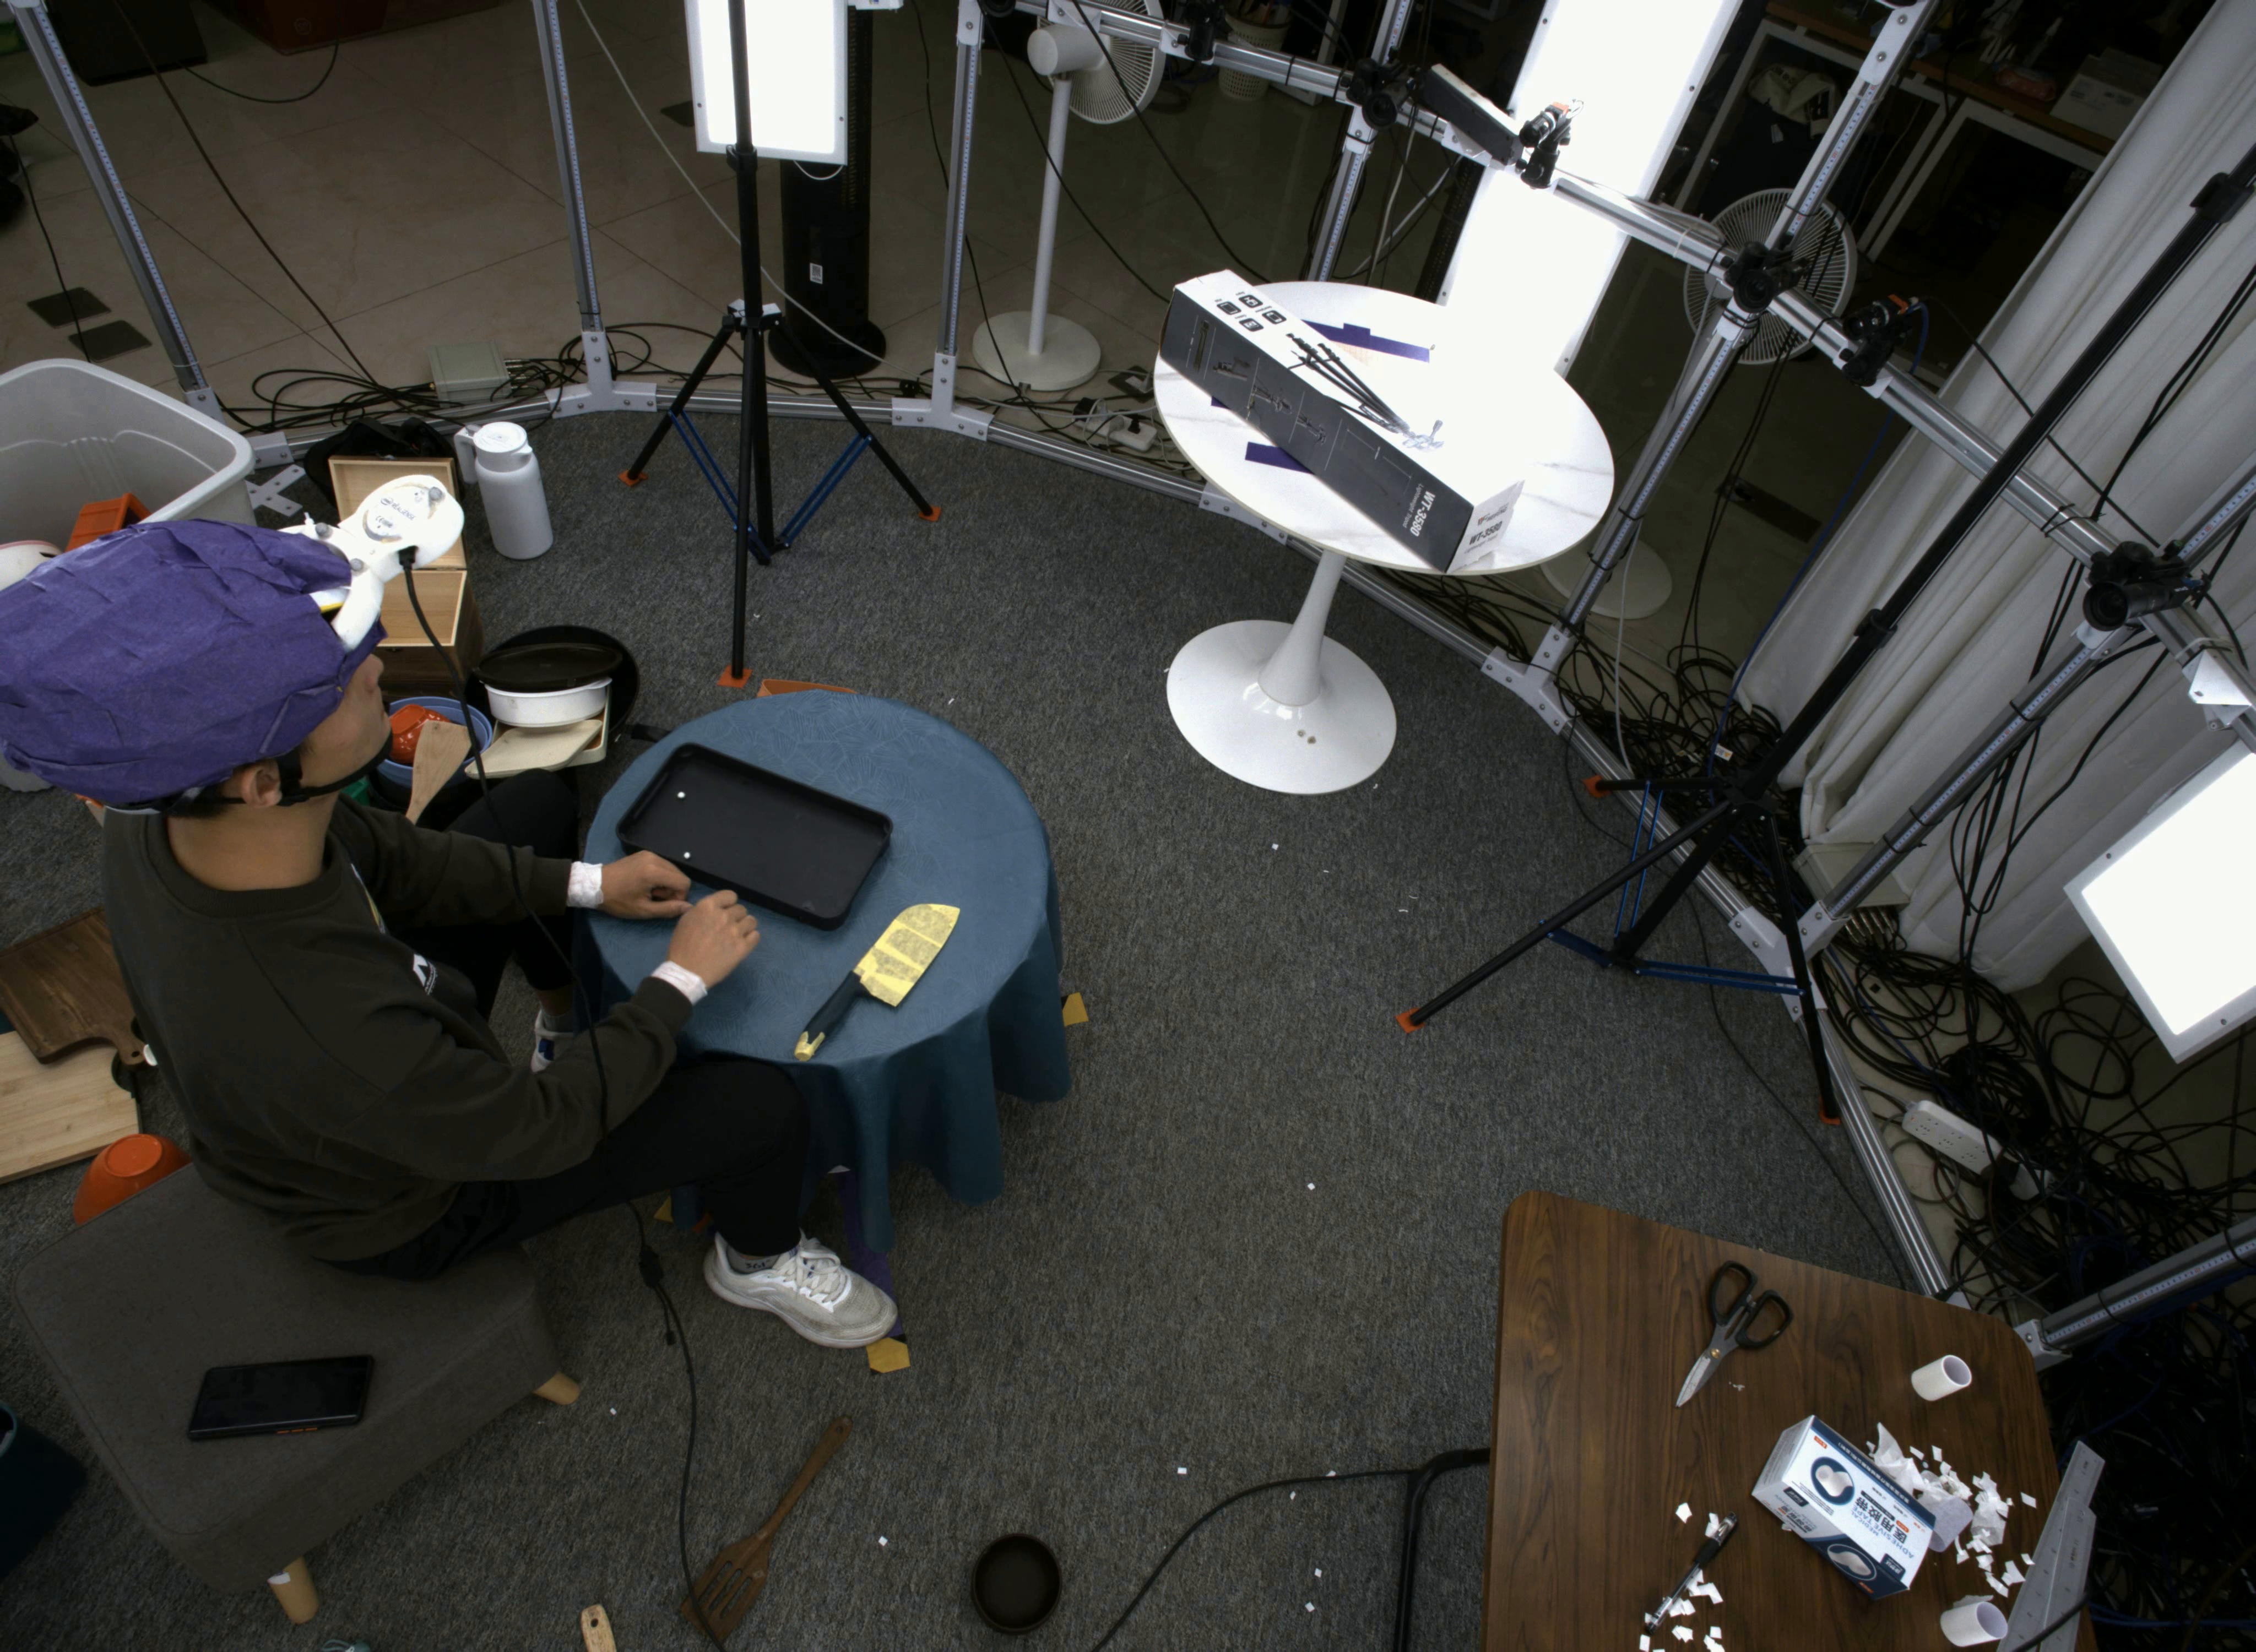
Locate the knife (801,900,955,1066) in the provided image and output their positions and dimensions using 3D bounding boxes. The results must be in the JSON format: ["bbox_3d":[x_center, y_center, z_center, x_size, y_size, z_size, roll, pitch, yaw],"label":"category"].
[{"bbox_3d":[-0.305,0.189,1.616,0.079,0.028,0.288,29,52,10],"label":"knife"}]

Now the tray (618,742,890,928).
[{"bbox_3d":[-0.487,0.008,1.690,0.315,0.038,0.182,19,52,0],"label":"tray"}]
